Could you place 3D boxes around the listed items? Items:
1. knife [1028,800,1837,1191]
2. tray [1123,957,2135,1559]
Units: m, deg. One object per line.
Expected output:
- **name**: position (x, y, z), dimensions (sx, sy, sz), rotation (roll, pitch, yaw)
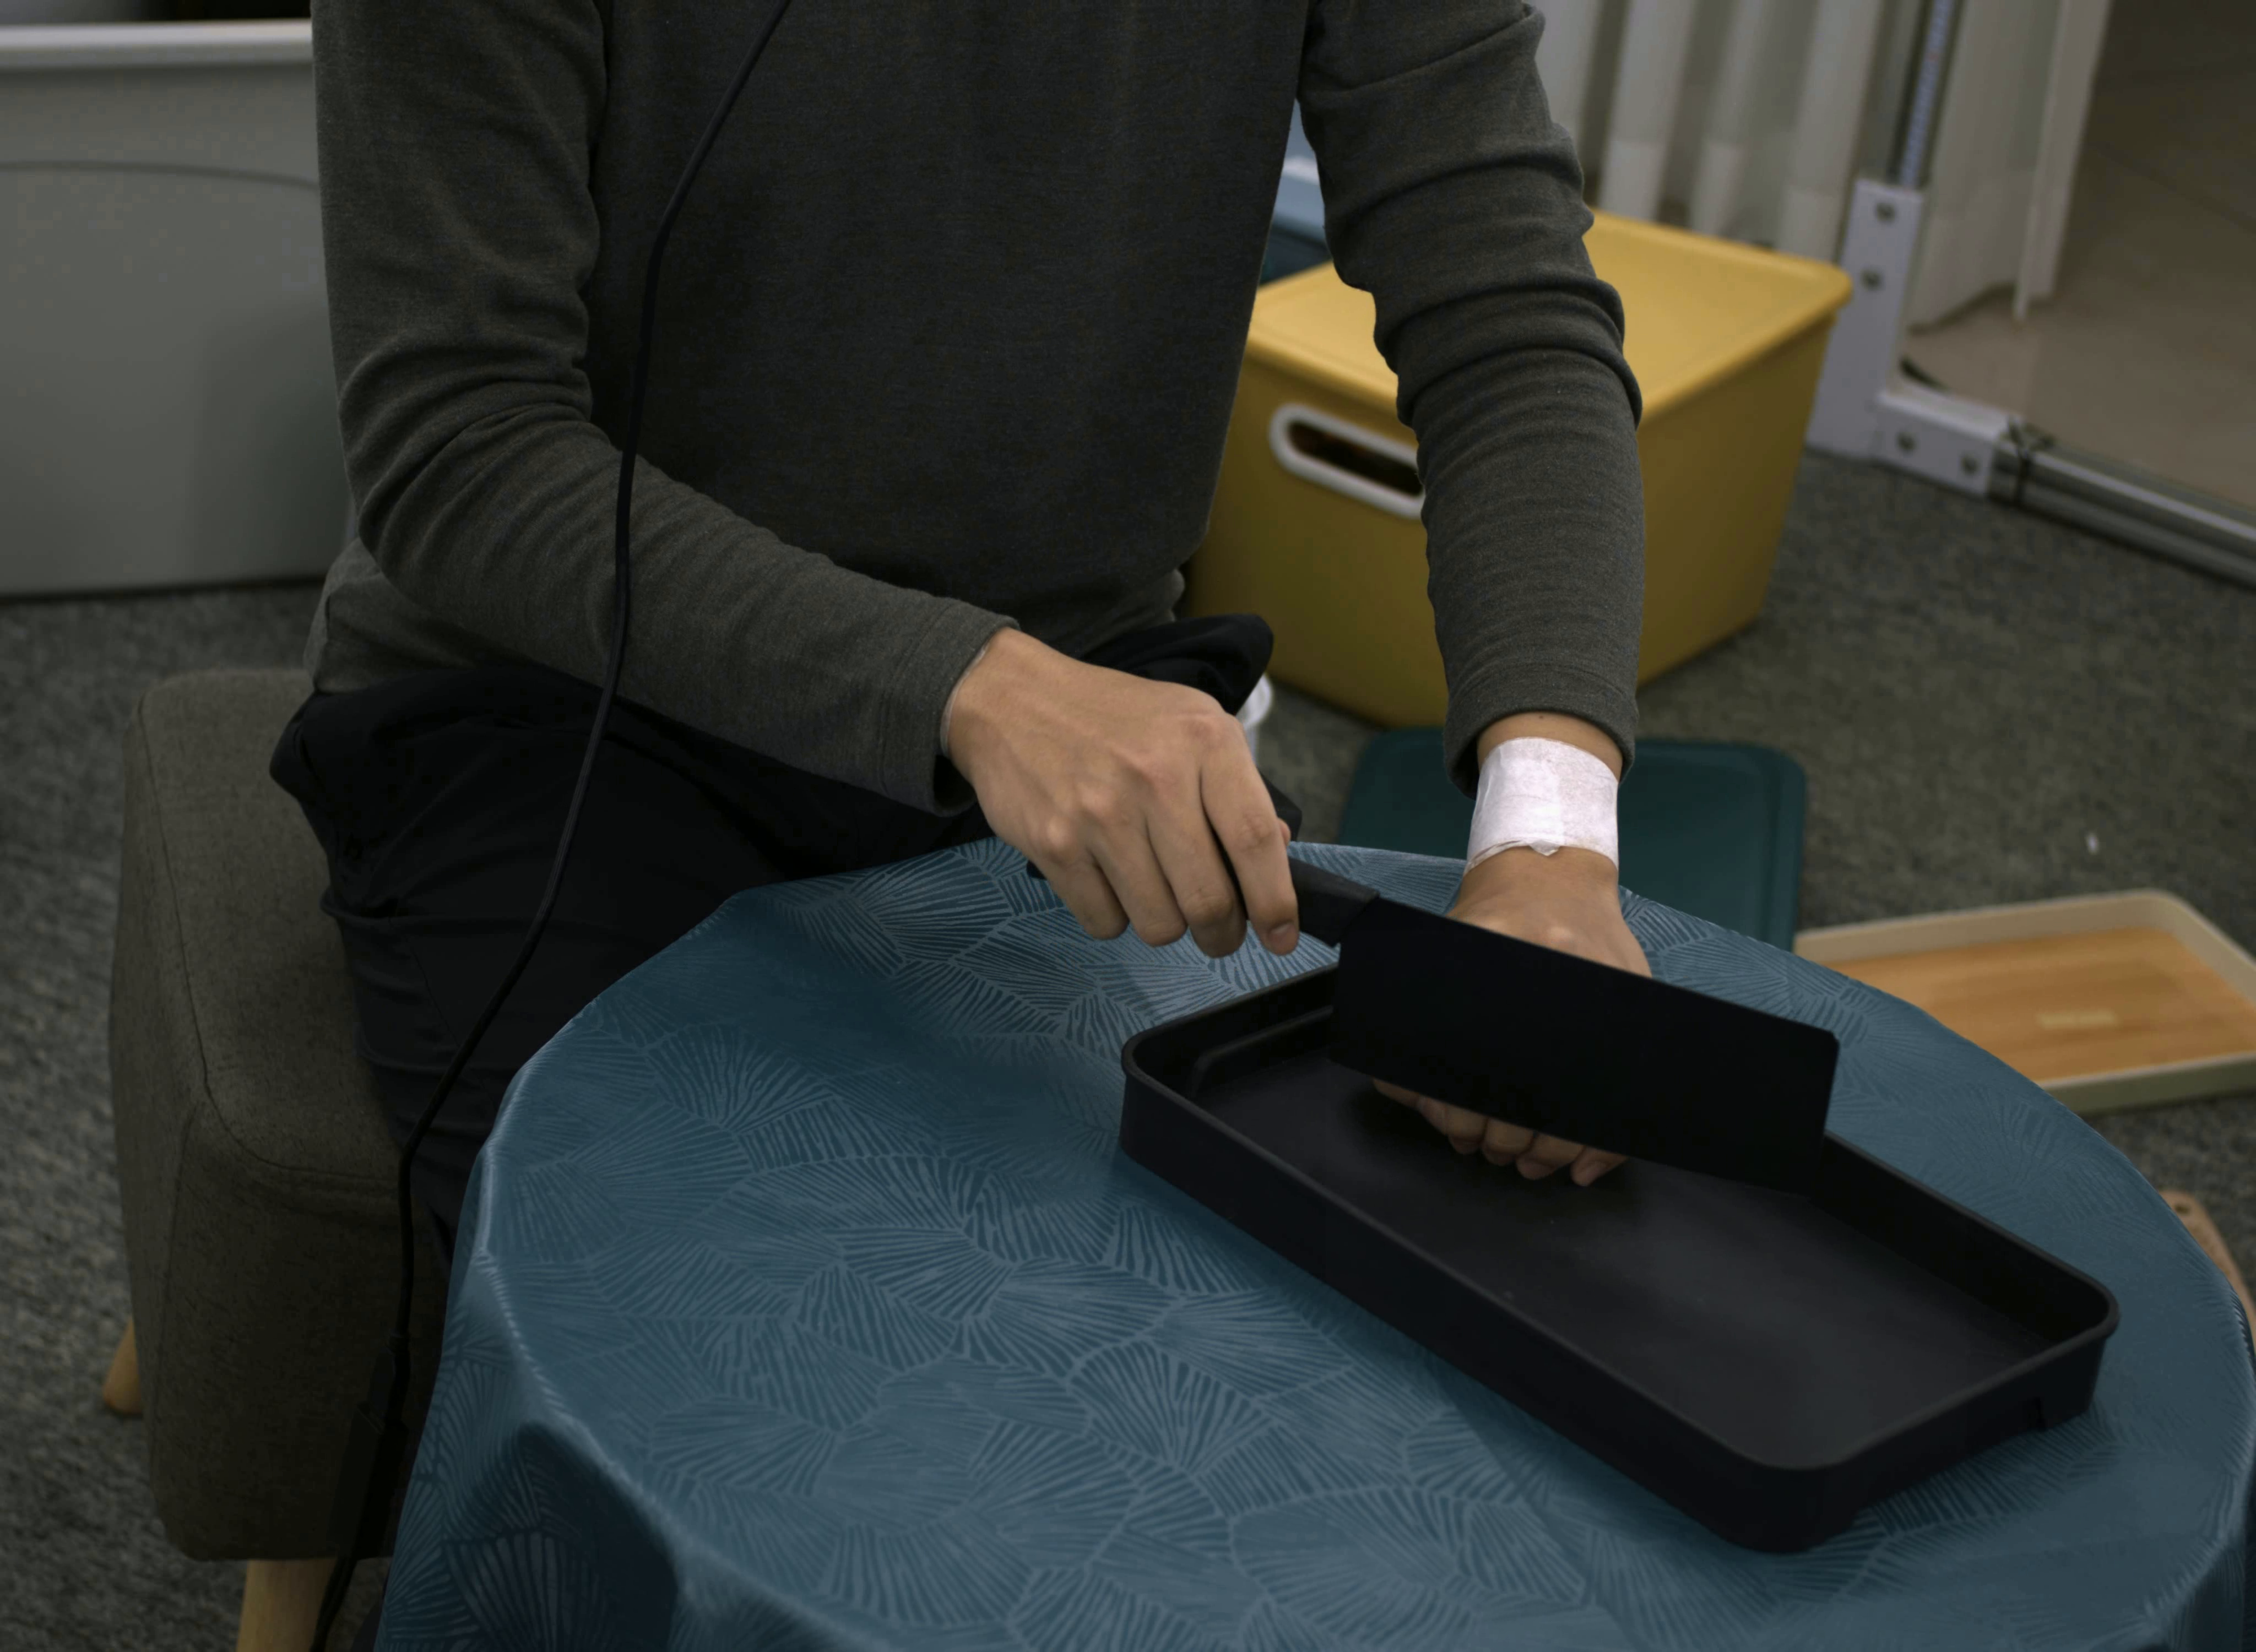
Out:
- **knife**: position (0.099, 0.053, 1.807), dimensions (0.303, 0.081, 0.021), rotation (21, 24, 23)
- **tray**: position (0.162, 0.133, 1.783), dimensions (0.183, 0.037, 0.320), rotation (-19, 36, -41)
